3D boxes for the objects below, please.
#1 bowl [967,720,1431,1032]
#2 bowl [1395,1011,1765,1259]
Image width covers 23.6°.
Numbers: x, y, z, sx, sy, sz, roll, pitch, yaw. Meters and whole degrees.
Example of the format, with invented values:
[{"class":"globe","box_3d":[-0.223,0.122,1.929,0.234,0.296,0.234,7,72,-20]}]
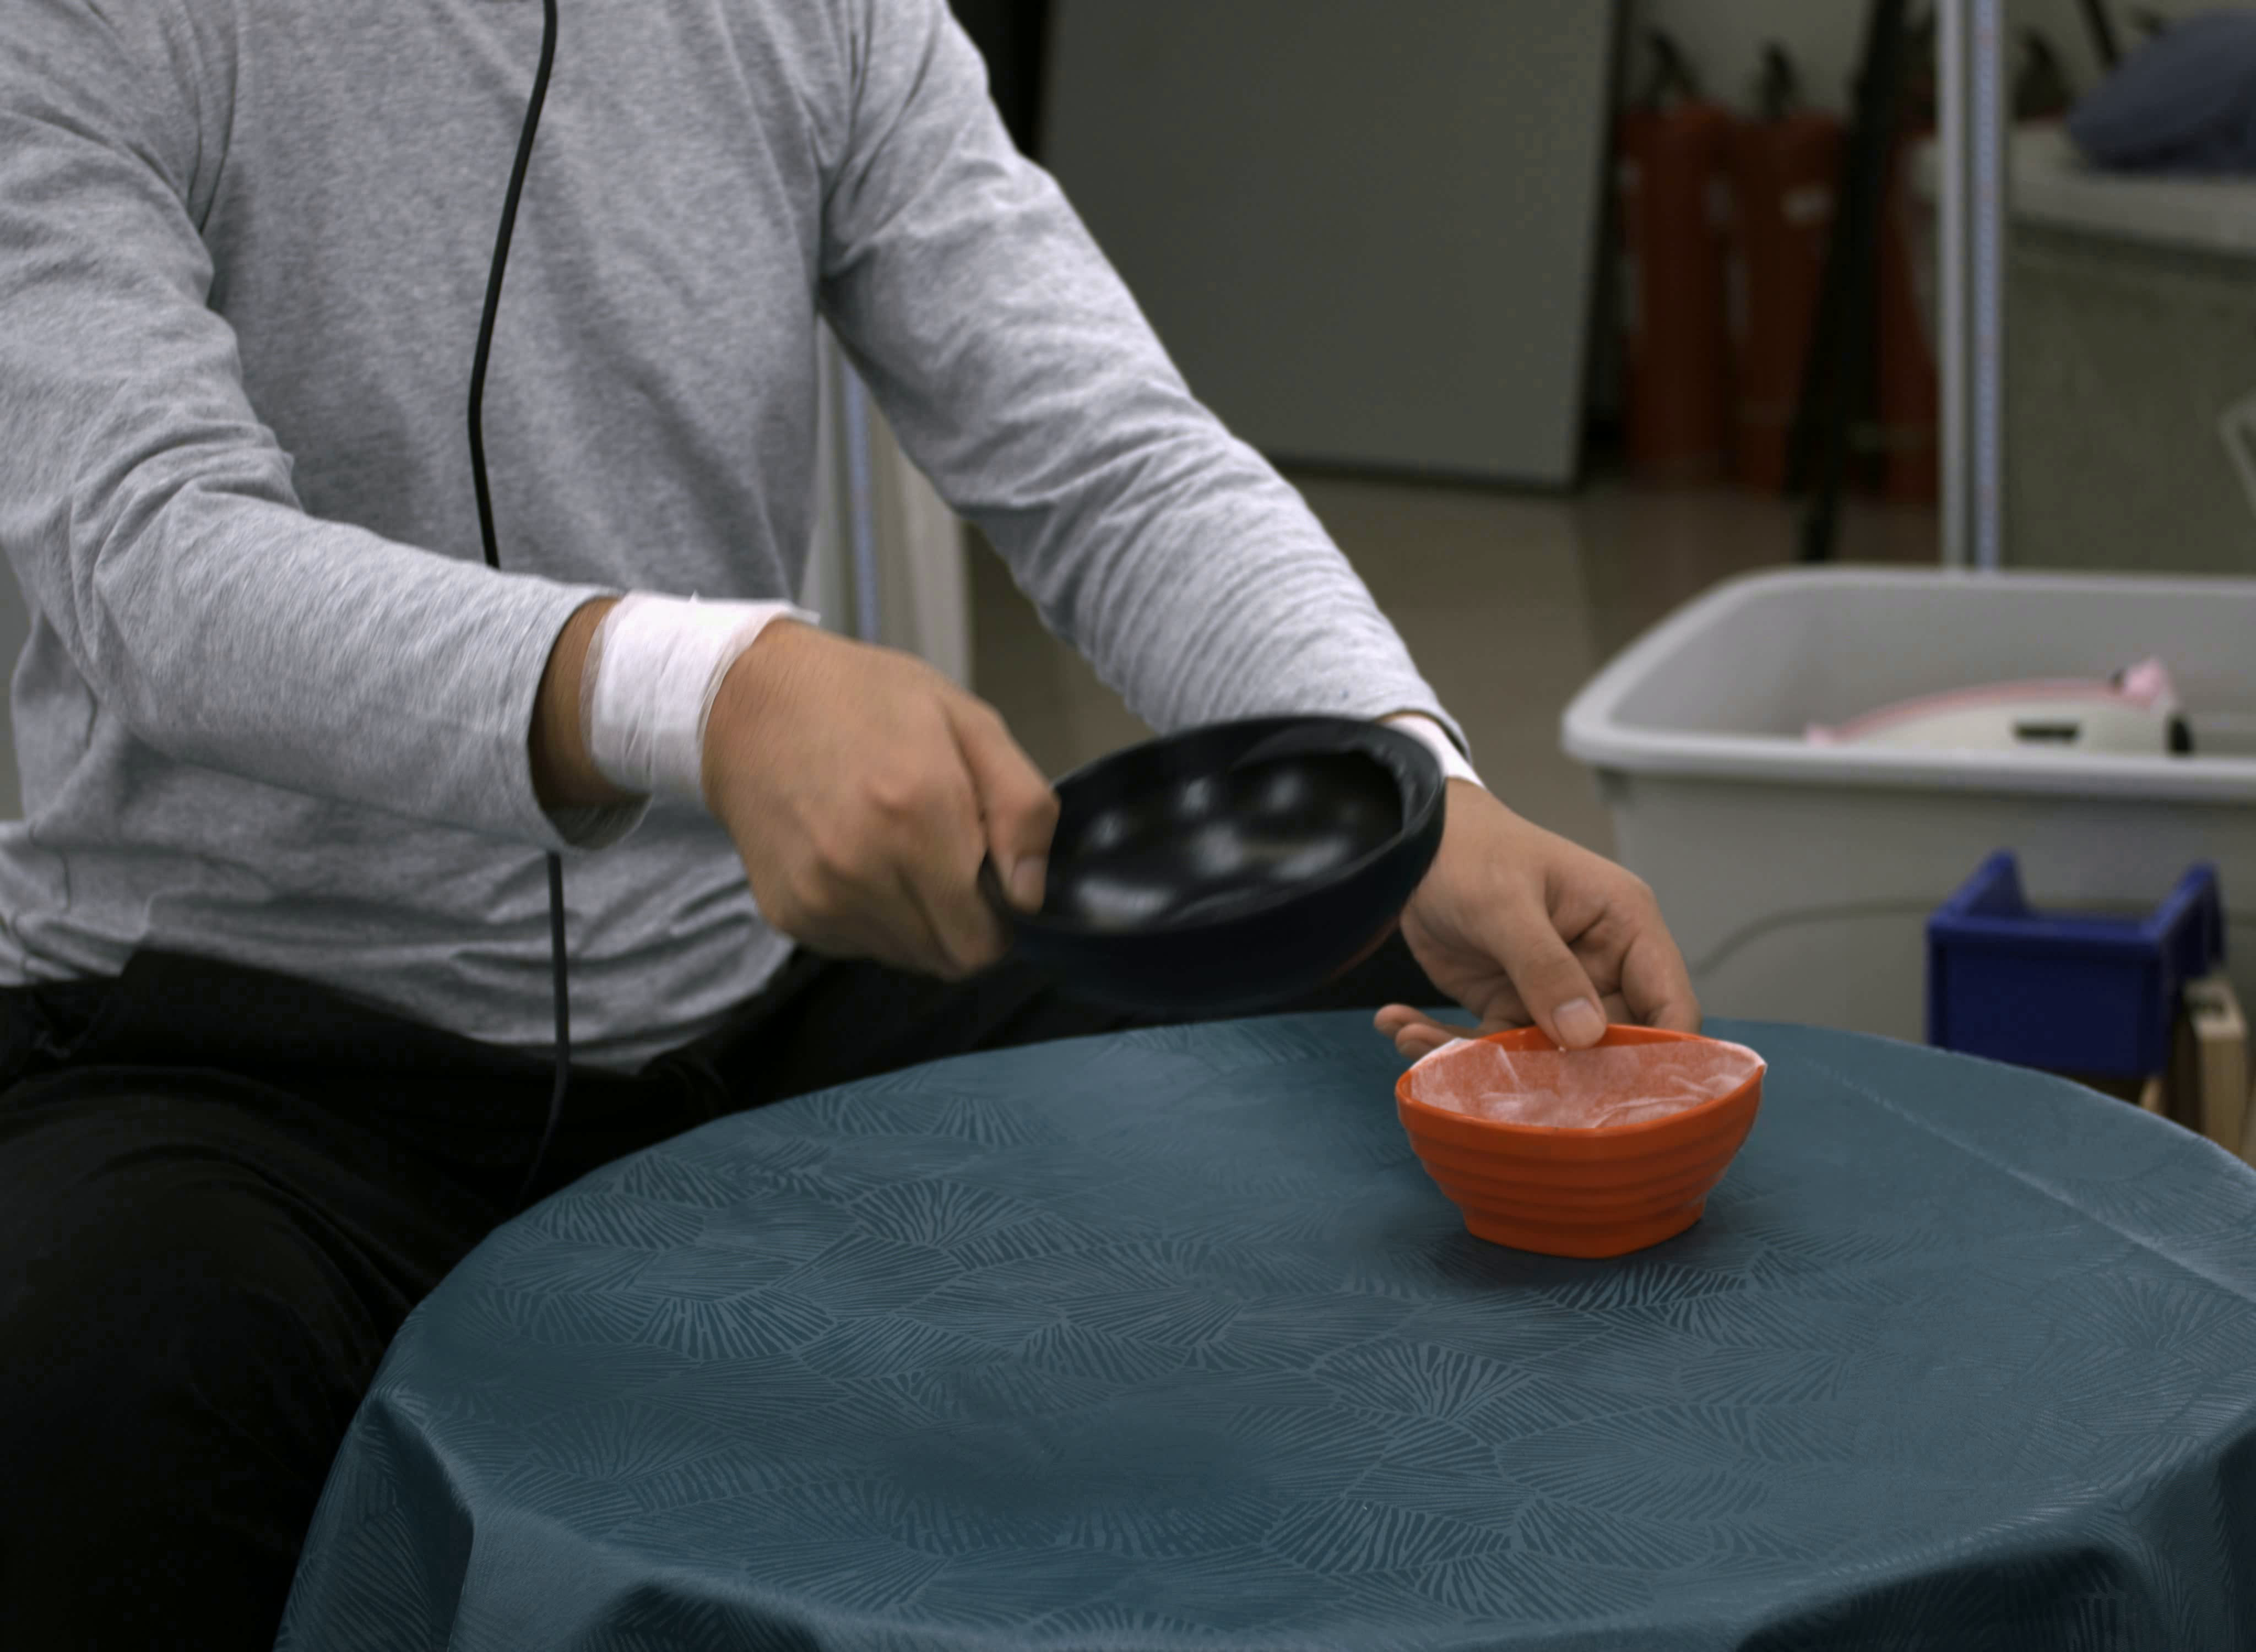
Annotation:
[{"class":"bowl","box_3d":[0.026,0.021,1.555,0.139,0.050,0.140,-15,21,5]},{"class":"bowl","box_3d":[0.144,0.100,1.705,0.117,0.052,0.119,-3,16,0]}]
